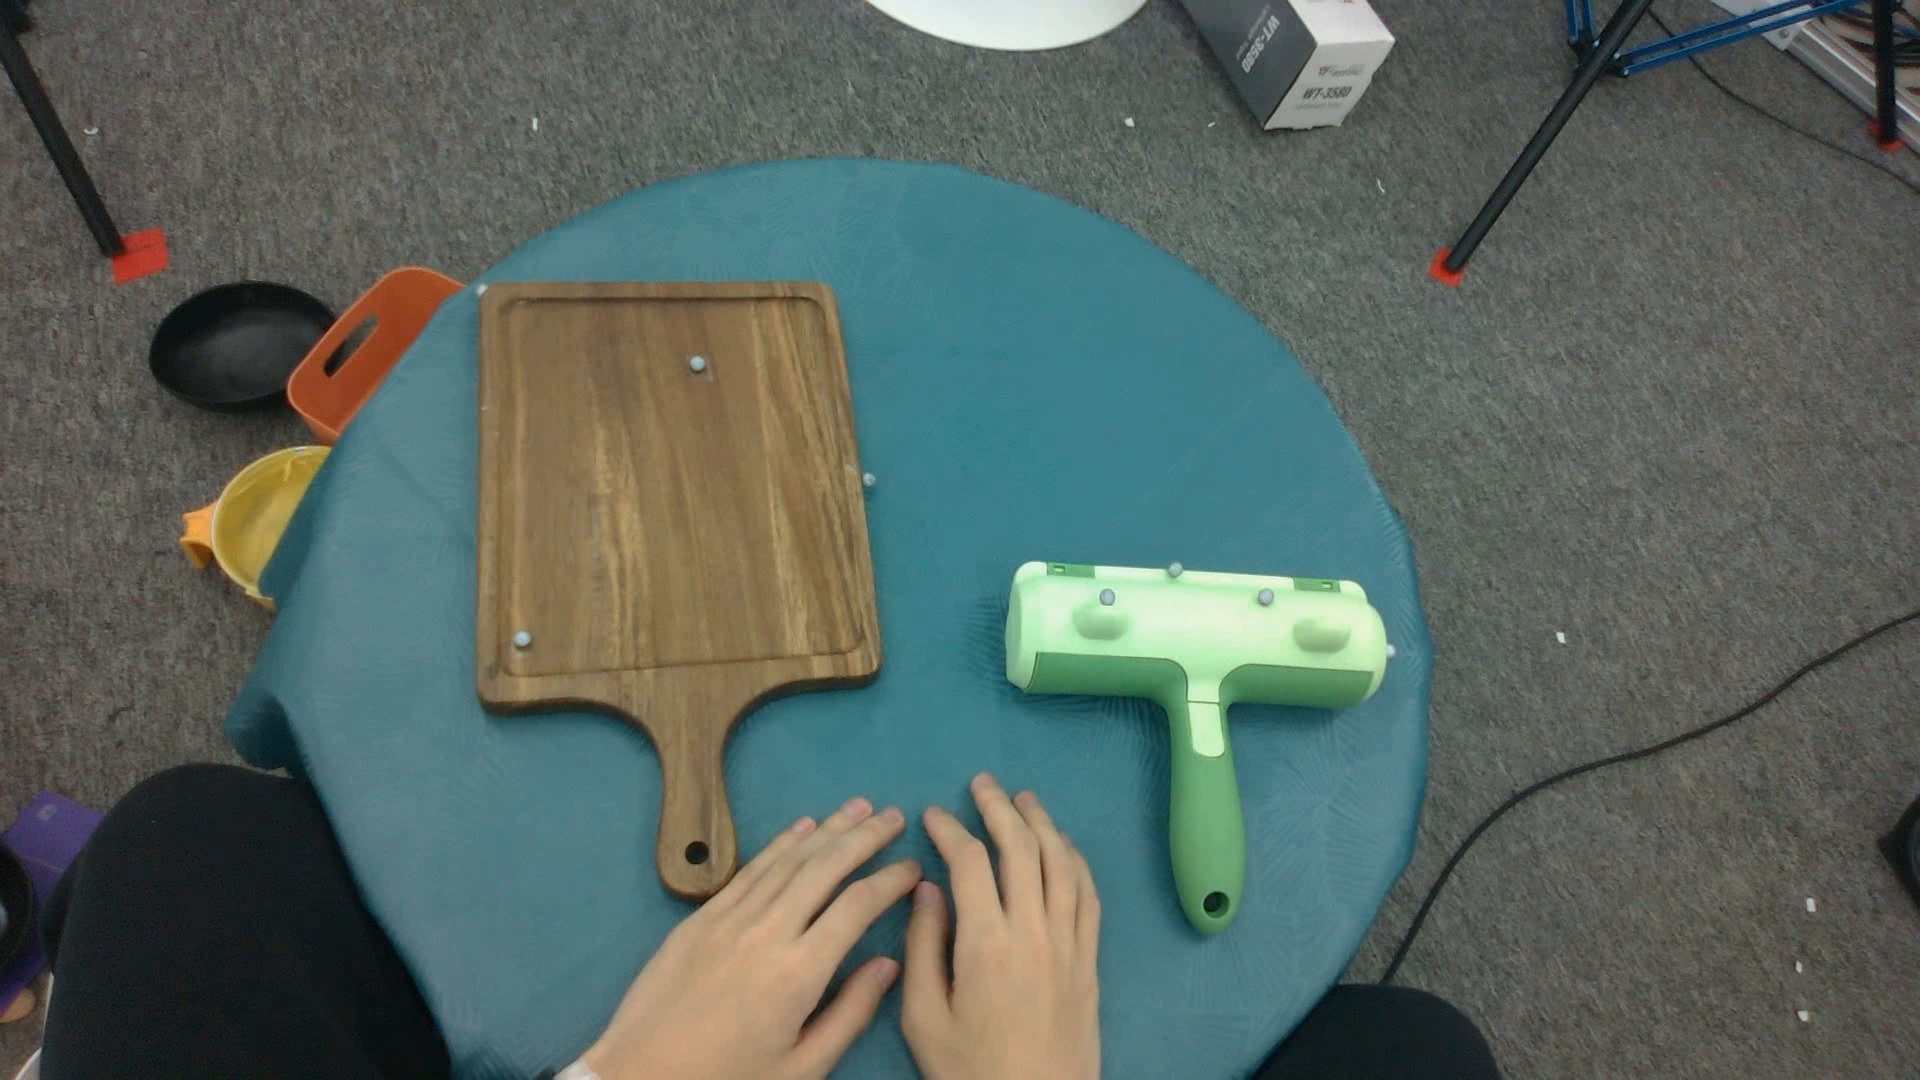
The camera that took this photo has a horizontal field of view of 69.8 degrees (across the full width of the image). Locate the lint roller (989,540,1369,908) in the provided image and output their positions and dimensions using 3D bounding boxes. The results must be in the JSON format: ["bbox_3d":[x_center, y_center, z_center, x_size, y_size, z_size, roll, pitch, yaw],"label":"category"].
[{"bbox_3d":[0.119,0.084,0.689,0.199,0.082,0.184,3,57,-10],"label":"lint roller"}]

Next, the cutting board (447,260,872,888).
[{"bbox_3d":[-0.154,0.003,0.710,0.201,0.023,0.353,-5,64,-14],"label":"cutting board"}]
